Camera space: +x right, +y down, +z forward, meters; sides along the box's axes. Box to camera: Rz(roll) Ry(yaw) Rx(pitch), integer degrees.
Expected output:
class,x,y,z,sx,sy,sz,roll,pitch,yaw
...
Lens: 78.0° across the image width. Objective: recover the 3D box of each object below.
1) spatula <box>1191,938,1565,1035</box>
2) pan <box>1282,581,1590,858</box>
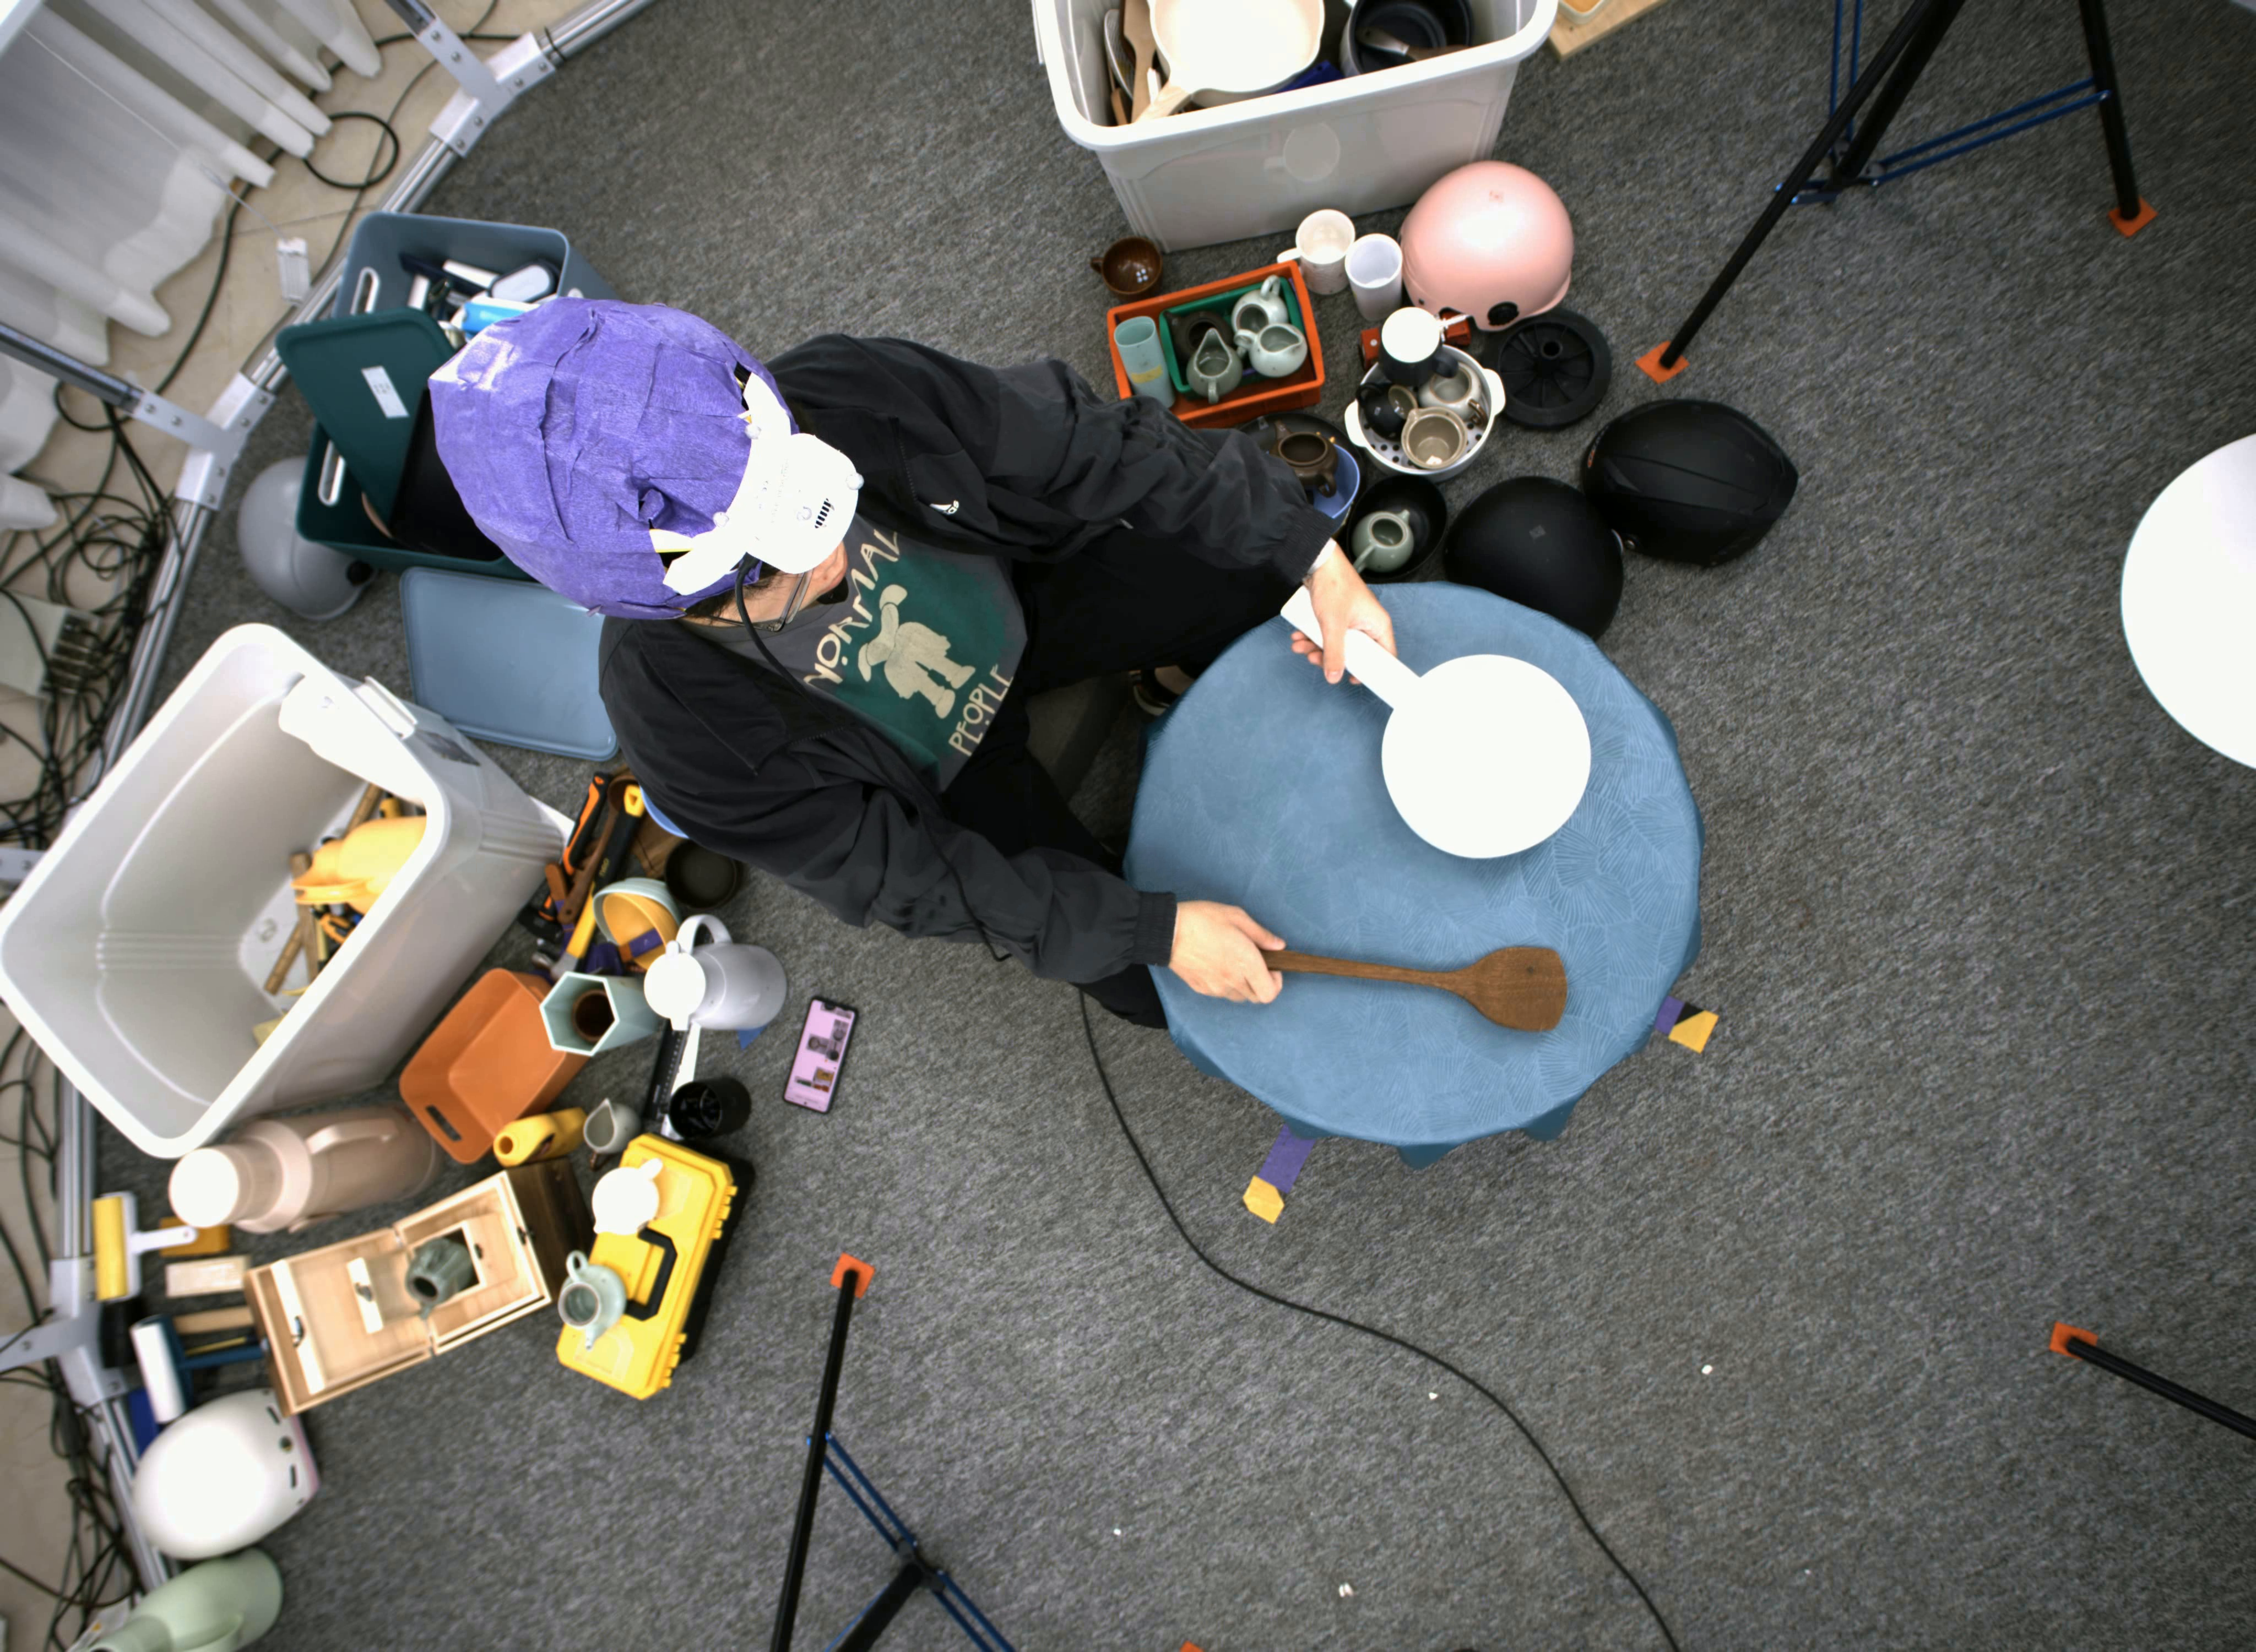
class,x,y,z,sx,sy,sz,roll,pitch,yaw
spatula,0.256,0.150,1.431,0.387,0.016,0.094,6,66,9
pan,0.305,-0.118,1.413,0.353,0.102,0.202,42,95,12
